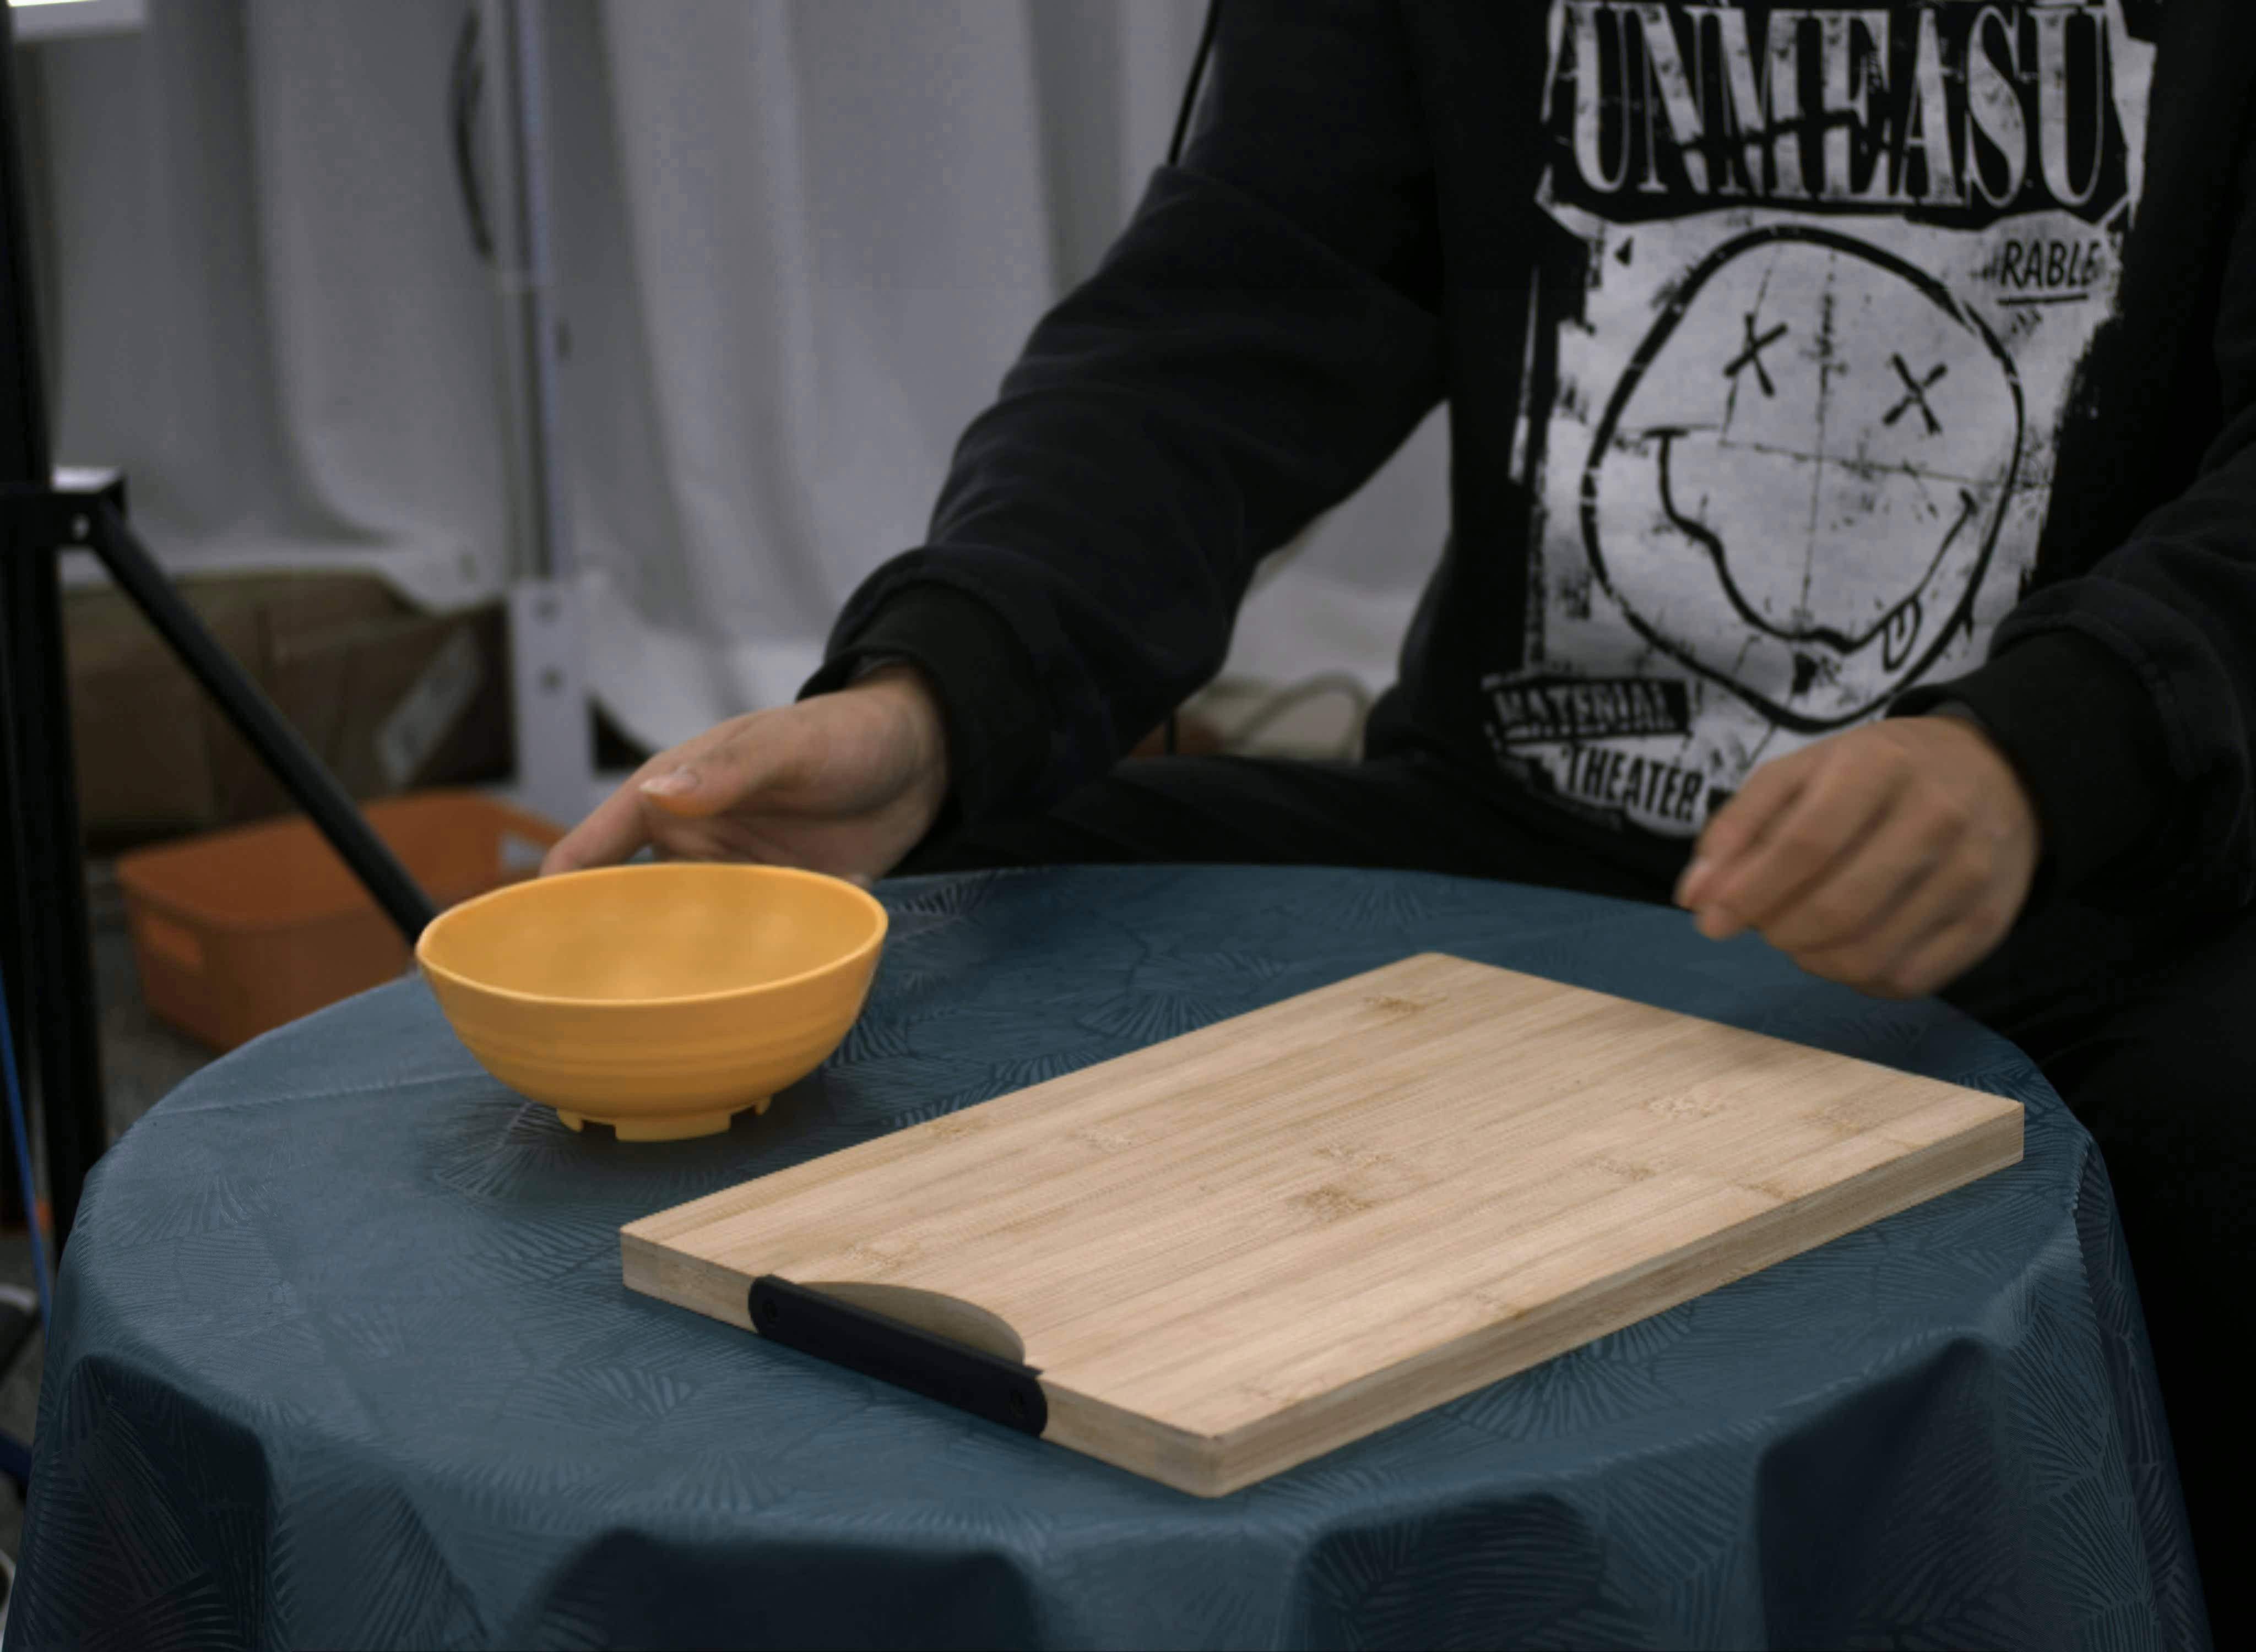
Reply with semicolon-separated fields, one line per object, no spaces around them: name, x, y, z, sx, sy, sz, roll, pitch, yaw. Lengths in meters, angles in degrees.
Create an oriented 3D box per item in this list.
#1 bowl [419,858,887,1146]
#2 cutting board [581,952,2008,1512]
bowl;-0.146;0.060;1.649;0.144;0.060;0.146;0;17;-1
cutting board;0.054;0.108;1.521;0.341;0.023;0.256;-17;21;-41
